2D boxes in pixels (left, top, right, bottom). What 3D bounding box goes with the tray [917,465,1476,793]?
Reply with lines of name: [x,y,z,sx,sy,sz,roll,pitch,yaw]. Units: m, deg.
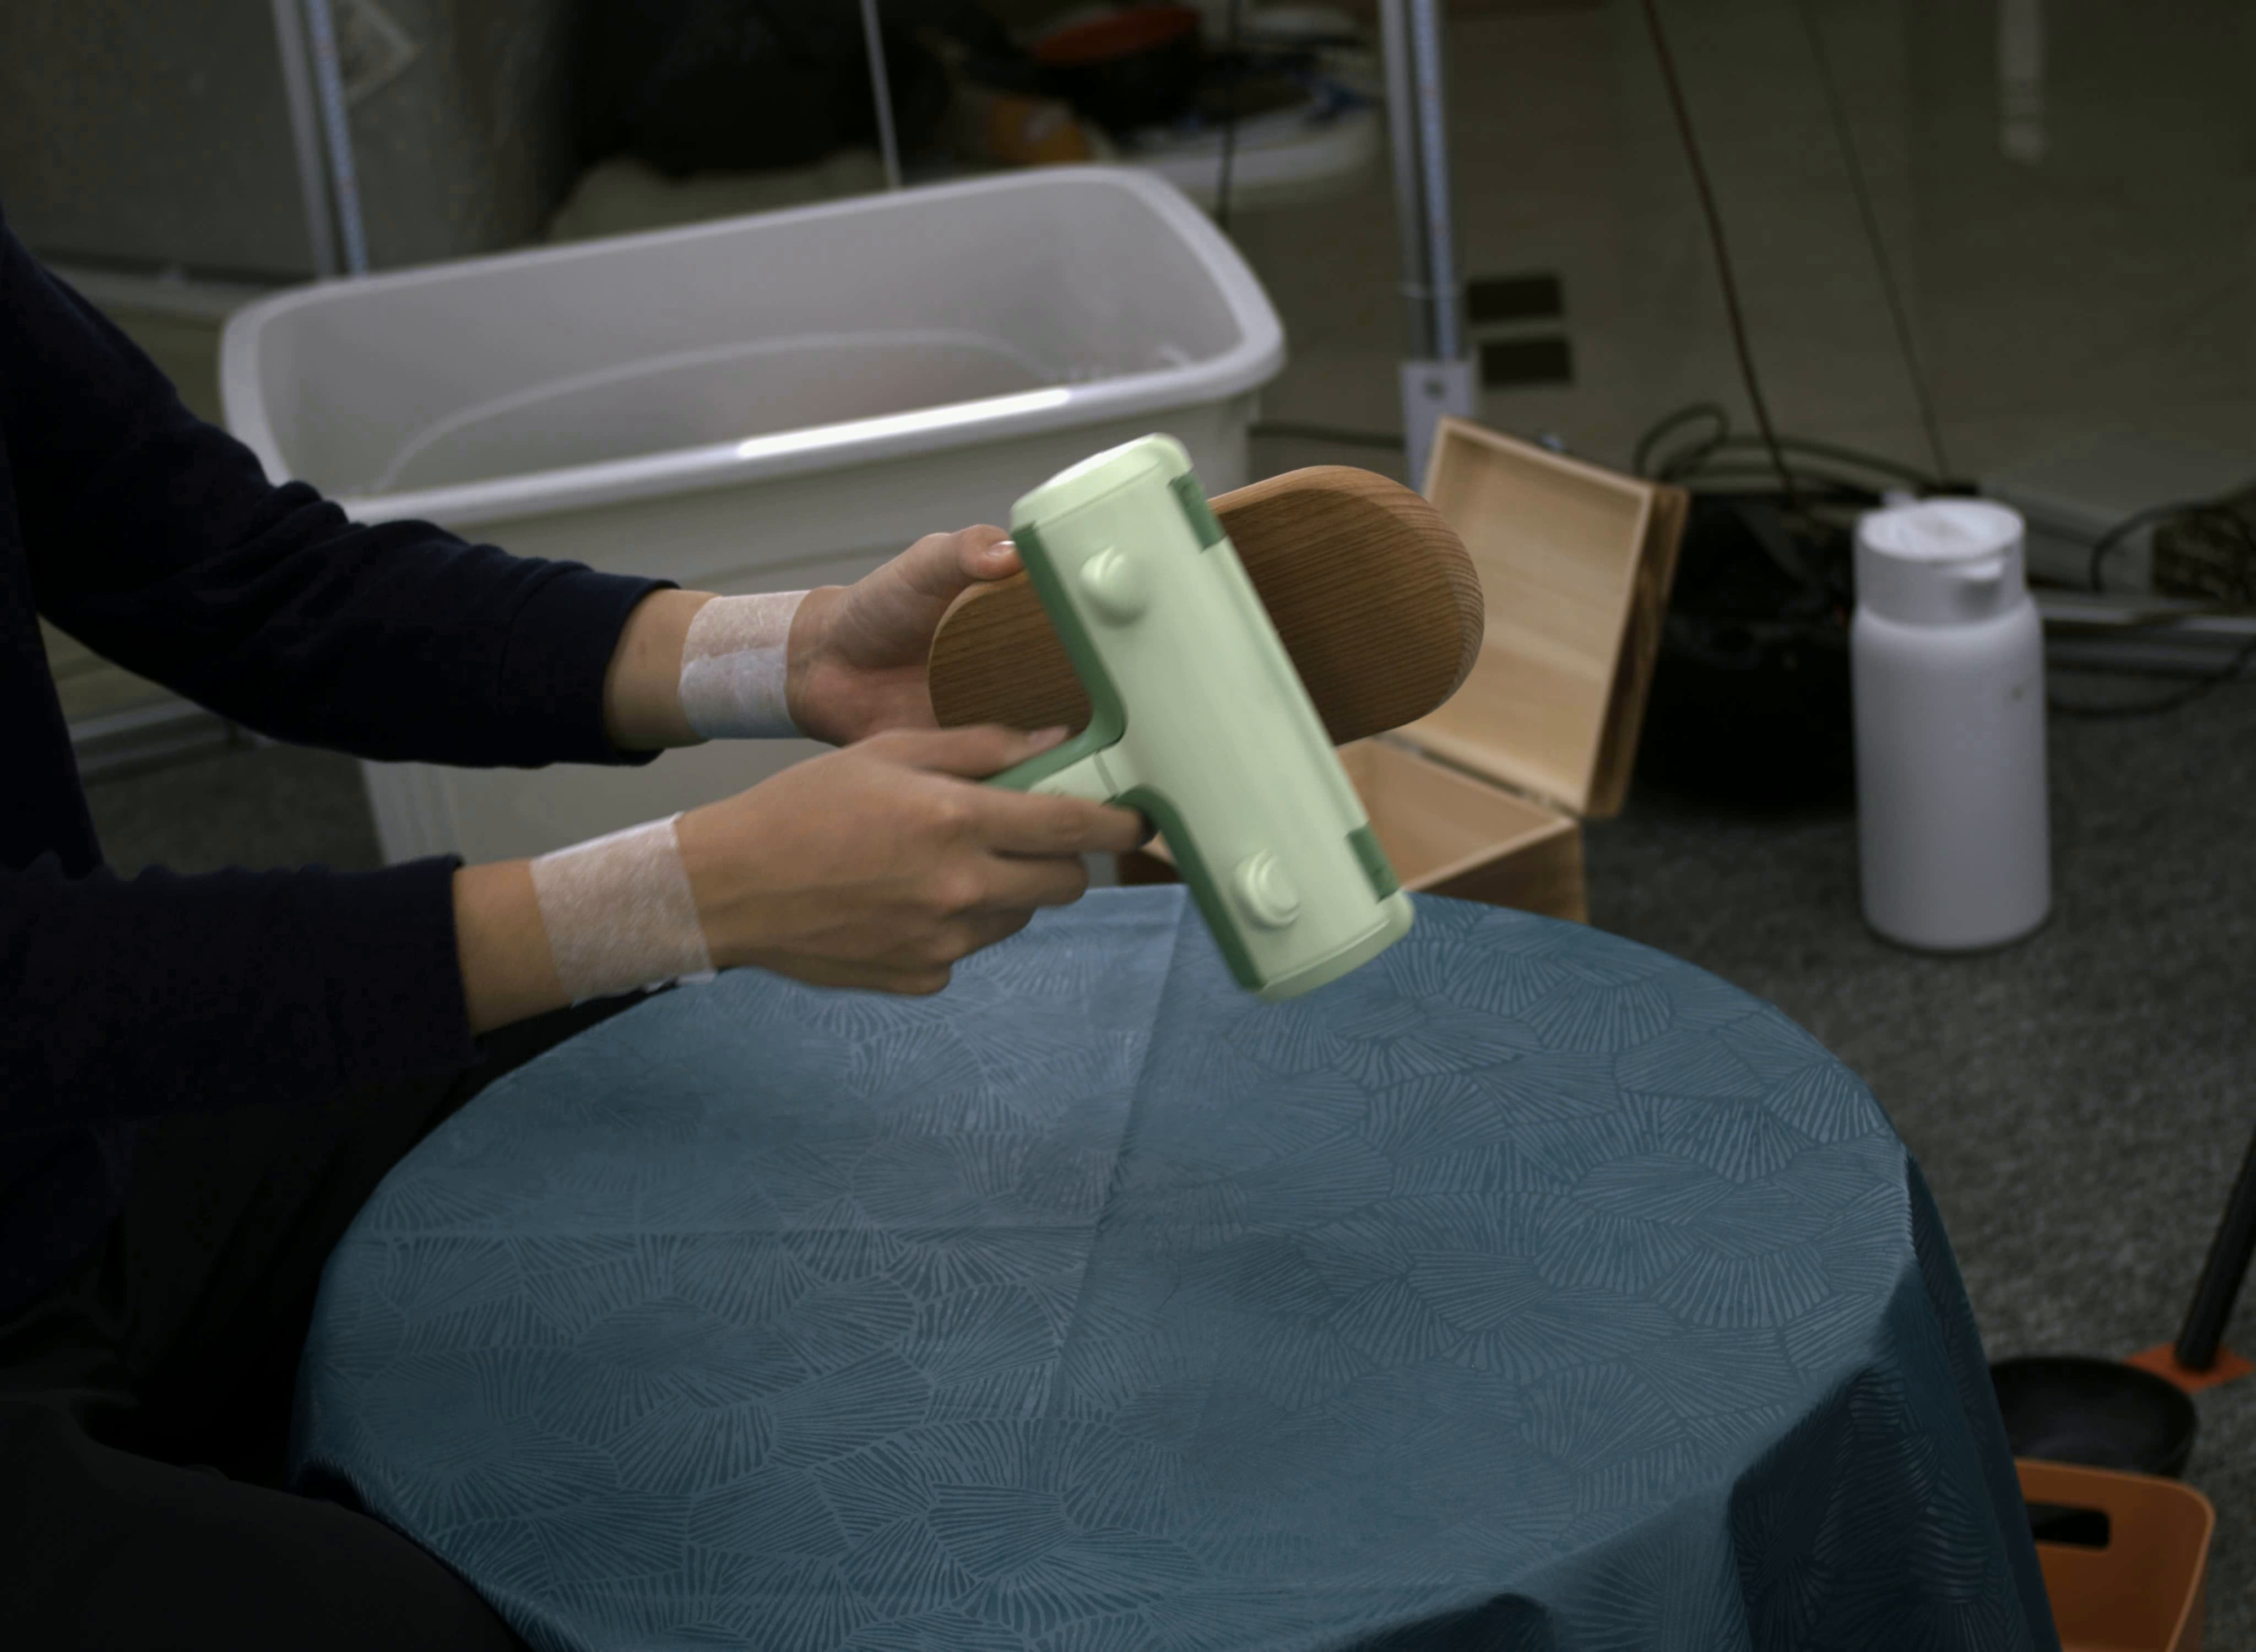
tray: [0.021,-0.063,2.028,0.232,0.103,0.020,-17,20,32]

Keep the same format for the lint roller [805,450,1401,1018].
lint roller: [-0.027,-0.004,1.941,0.183,0.199,0.082,-28,7,-3]
